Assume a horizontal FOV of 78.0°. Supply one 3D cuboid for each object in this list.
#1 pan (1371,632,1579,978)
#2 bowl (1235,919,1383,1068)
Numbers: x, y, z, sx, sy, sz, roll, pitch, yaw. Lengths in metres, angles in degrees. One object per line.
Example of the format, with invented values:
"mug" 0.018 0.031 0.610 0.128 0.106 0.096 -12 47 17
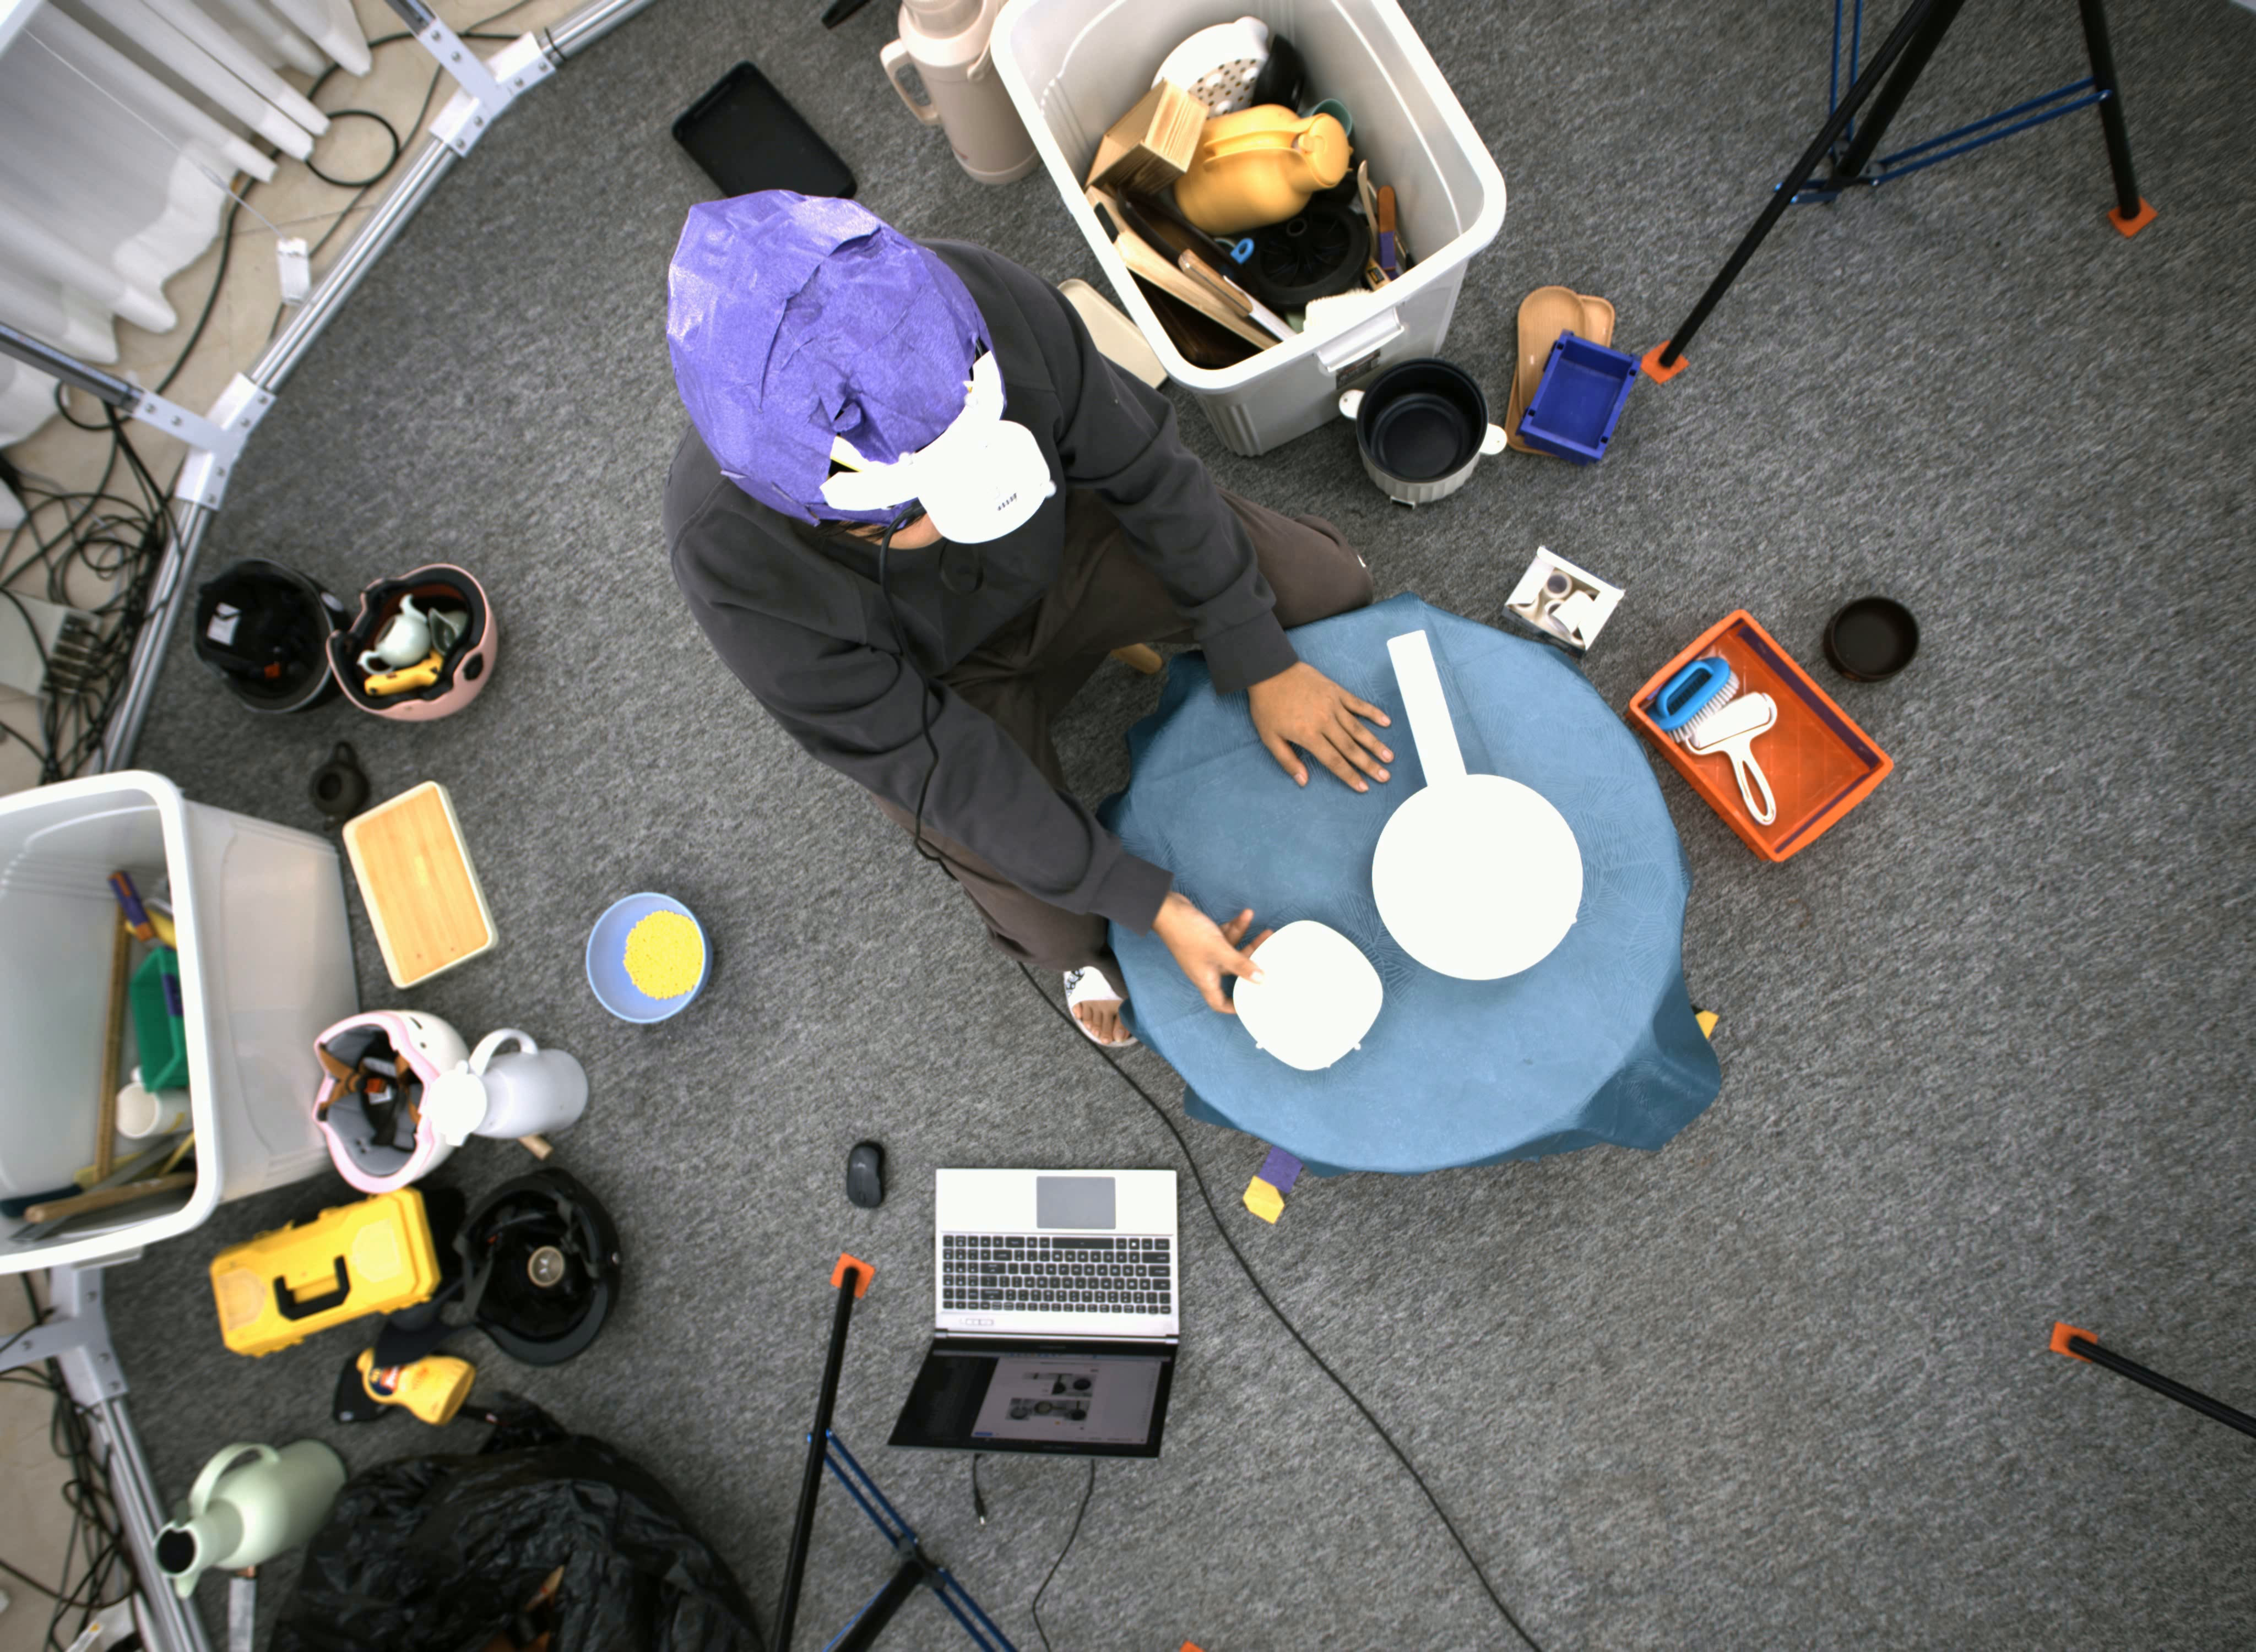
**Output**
"pan" 0.333 -0.021 1.410 0.202 0.102 0.352 -16 82 13
"bowl" 0.189 0.172 1.441 0.152 0.058 0.151 -1 88 10
